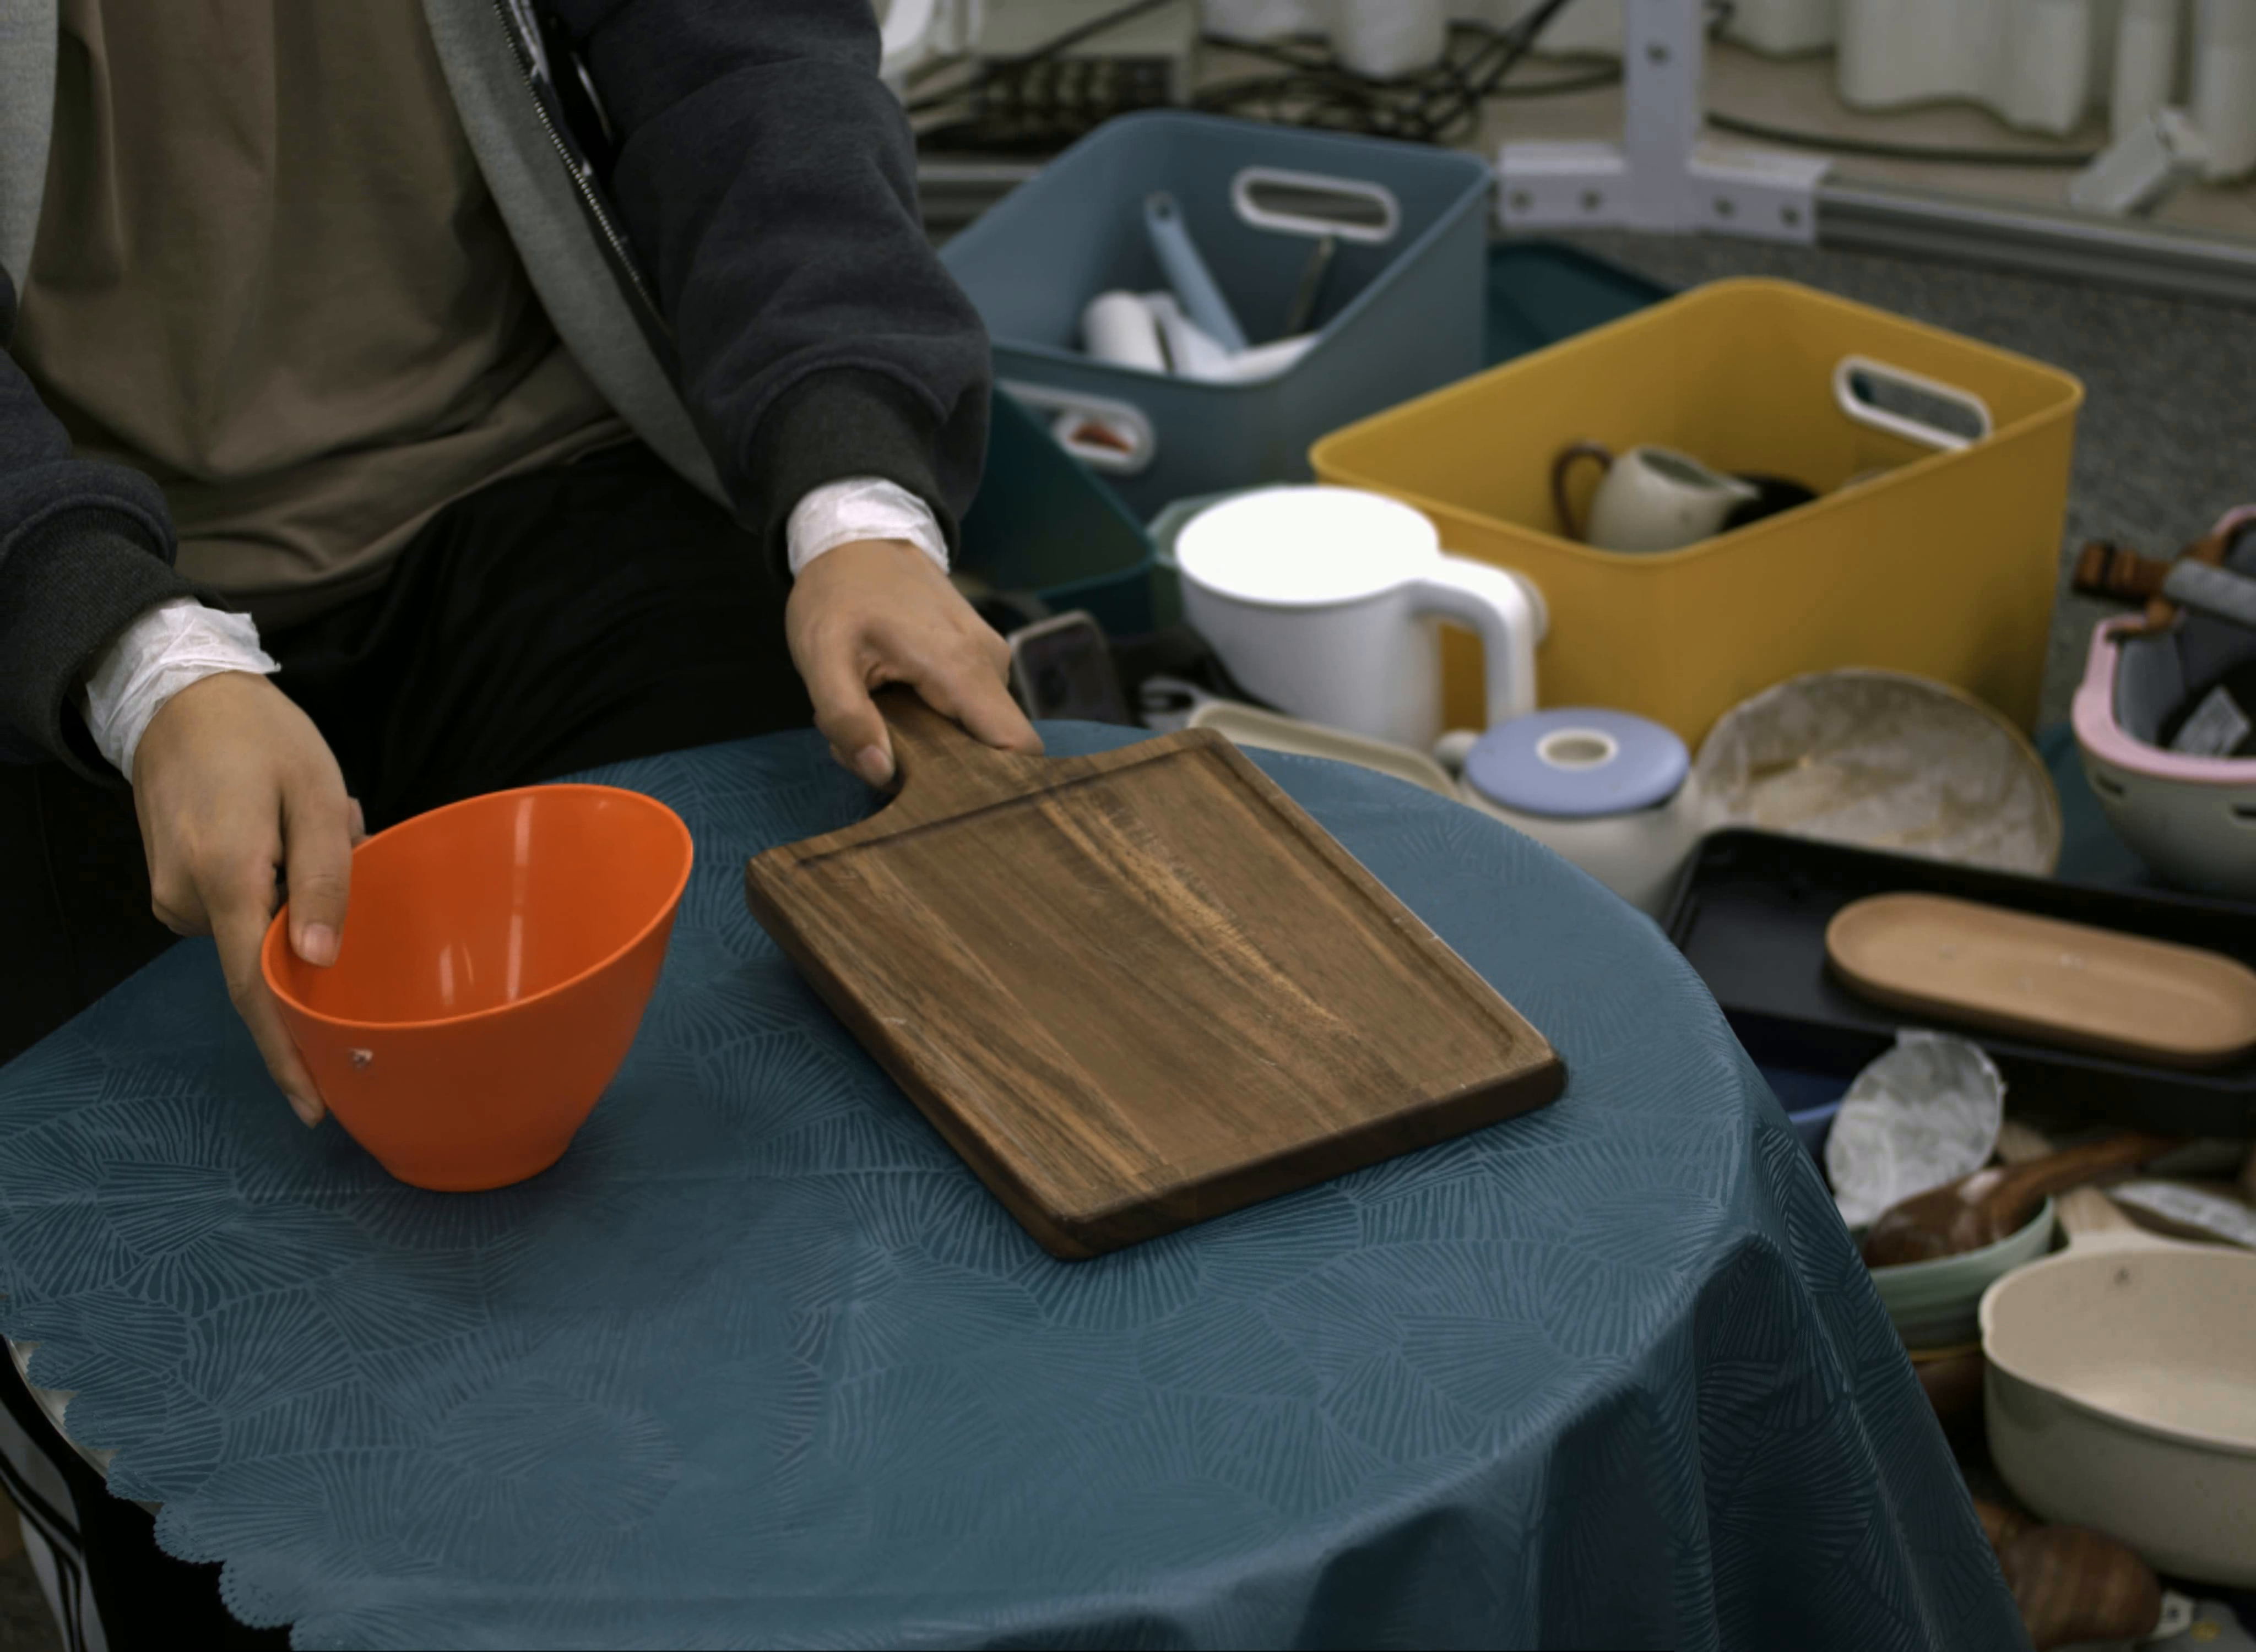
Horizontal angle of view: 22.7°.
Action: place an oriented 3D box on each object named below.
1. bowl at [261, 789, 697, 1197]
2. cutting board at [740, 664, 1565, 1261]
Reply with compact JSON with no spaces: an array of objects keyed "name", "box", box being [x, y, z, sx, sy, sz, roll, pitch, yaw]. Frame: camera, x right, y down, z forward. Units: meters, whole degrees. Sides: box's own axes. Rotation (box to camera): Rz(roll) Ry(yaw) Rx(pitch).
[{"name":"bowl","box":[-0.214,0.063,1.888,0.147,0.103,0.150,-2,27,1]},{"name":"cutting board","box":[-0.019,0.029,1.988,0.202,0.023,0.354,-16,35,-24]}]
